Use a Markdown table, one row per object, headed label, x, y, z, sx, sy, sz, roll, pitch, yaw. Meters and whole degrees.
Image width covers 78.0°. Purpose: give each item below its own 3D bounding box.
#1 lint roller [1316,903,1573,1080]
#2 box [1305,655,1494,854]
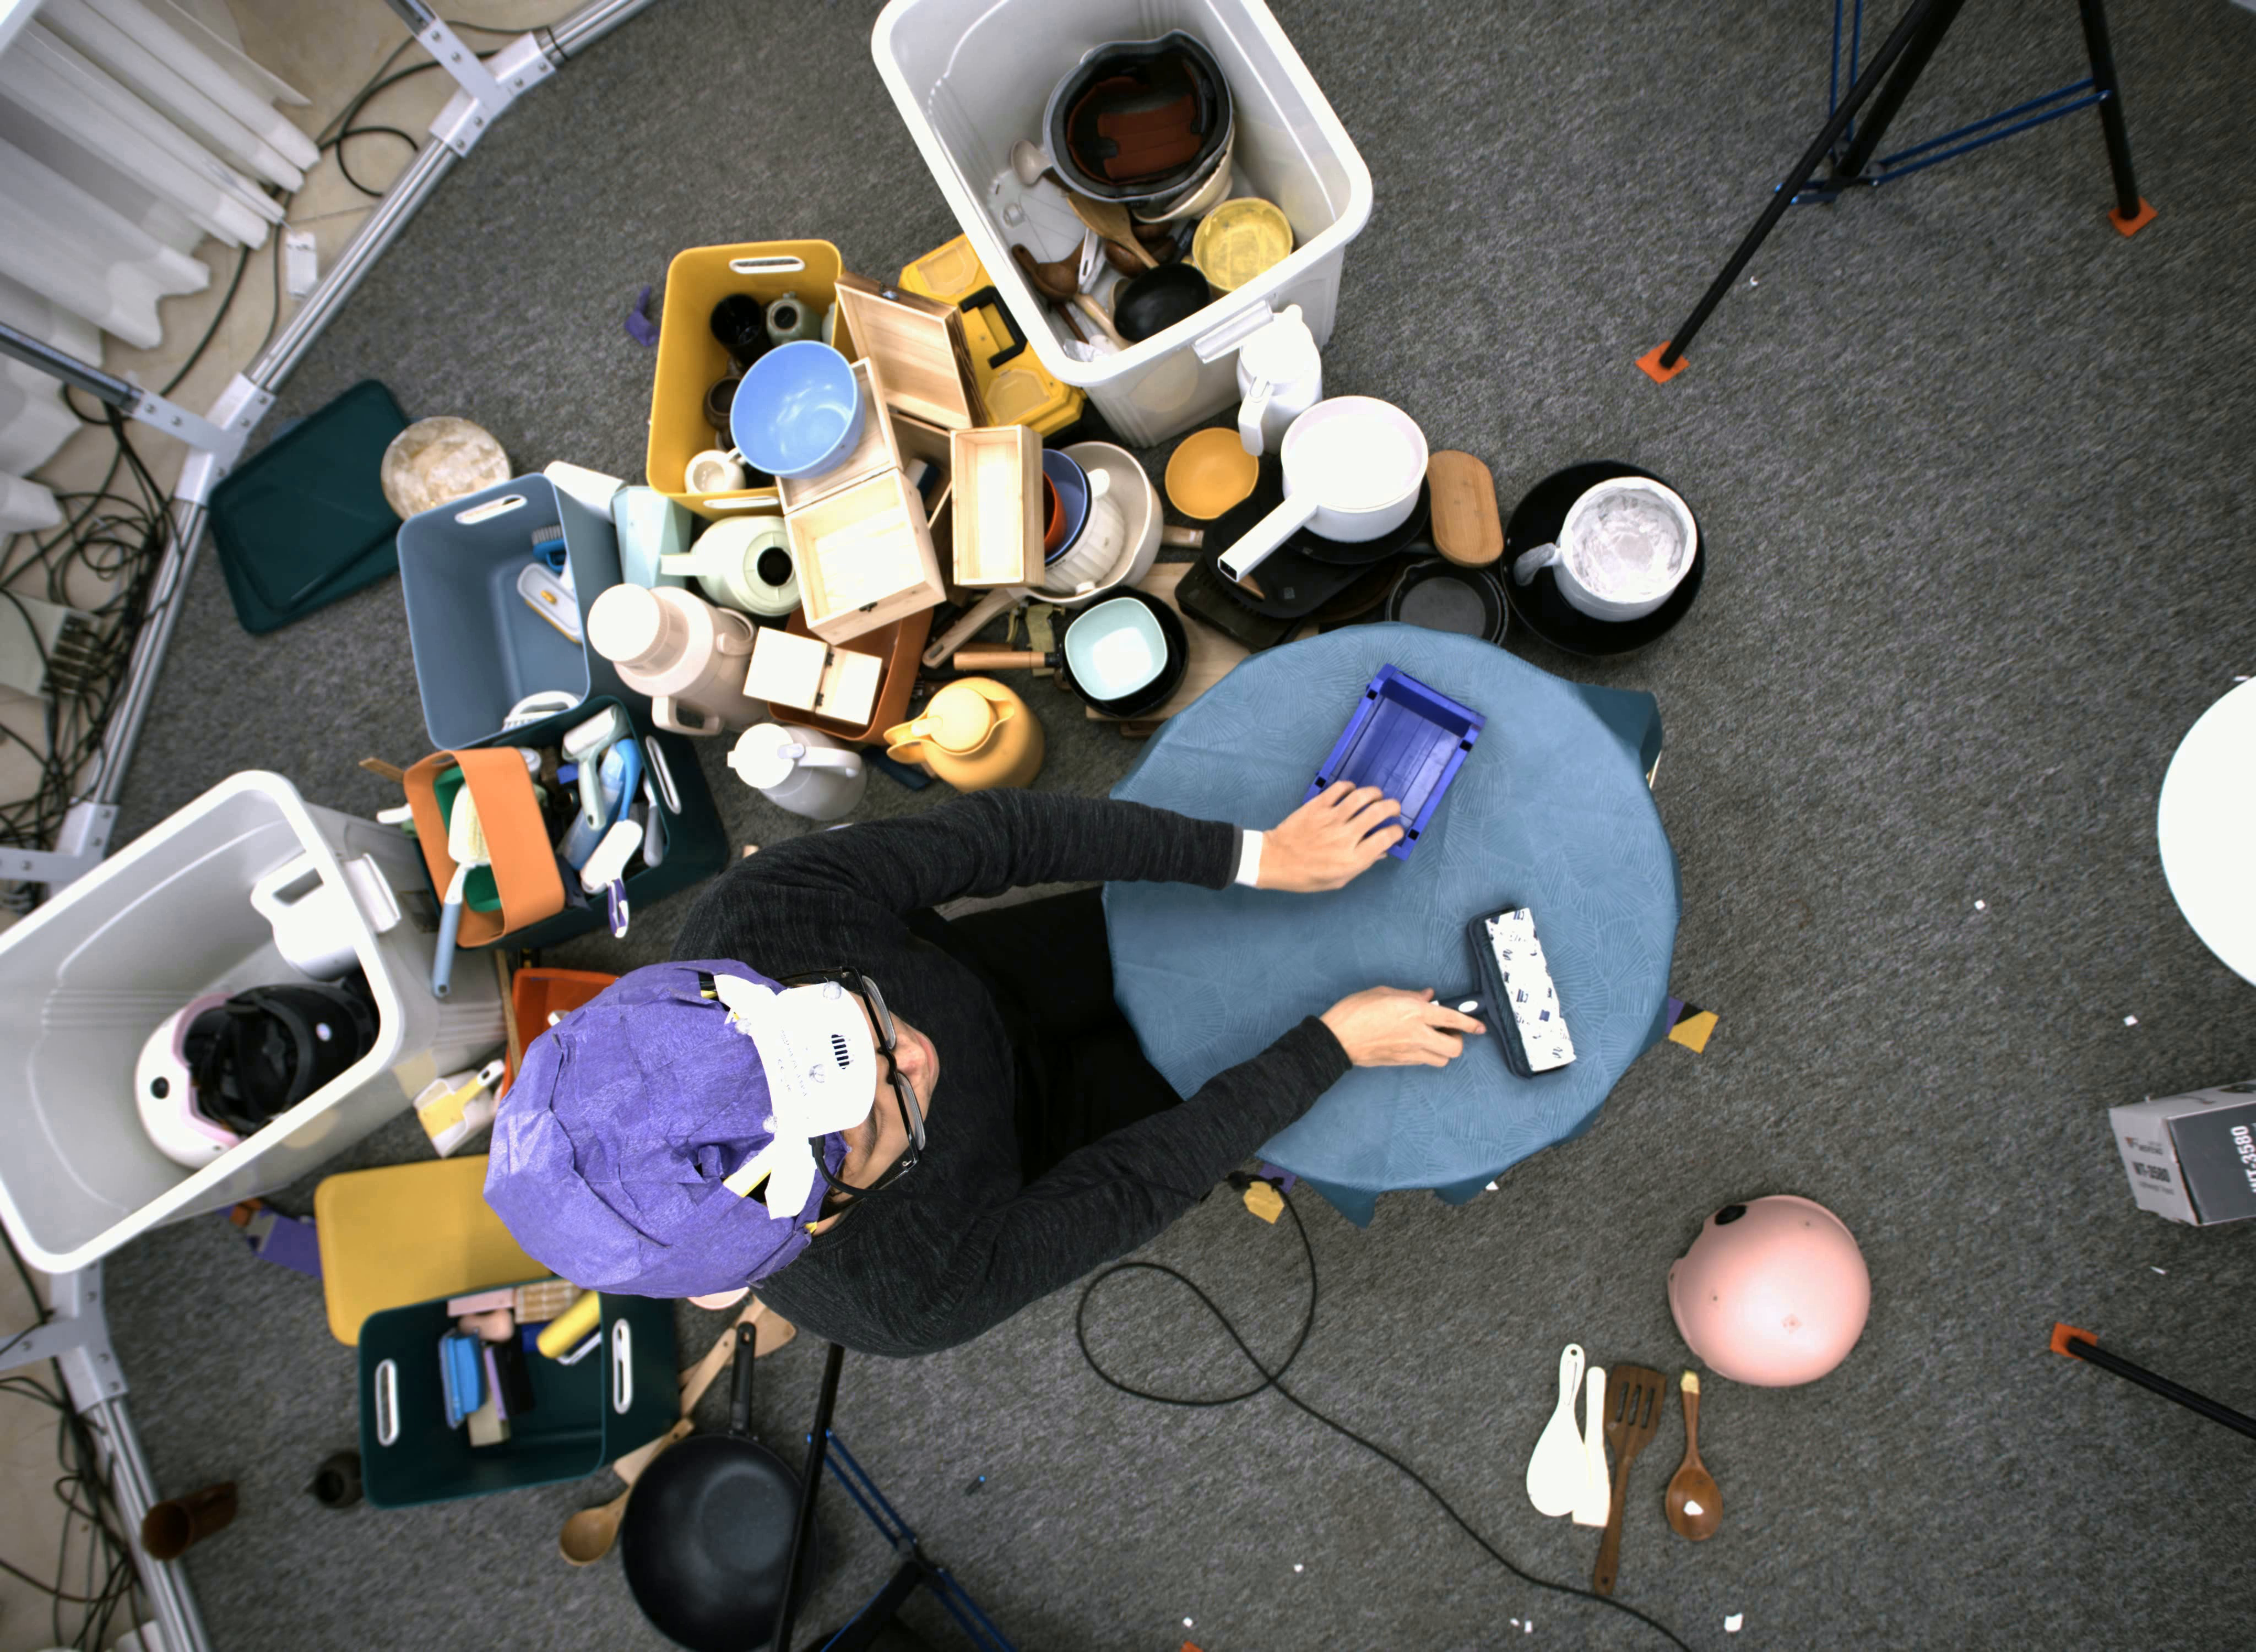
| label | x | y | z | sx | sy | sz | roll | pitch | yaw |
| --- | --- | --- | --- | --- | --- | --- | --- | --- | --- |
| lint roller | 0.314 | 0.195 | 1.421 | 0.248 | 0.050 | 0.175 | -18 | 85 | 9 |
| box | 0.281 | -0.078 | 1.425 | 0.124 | 0.082 | 0.180 | 32 | 95 | 11 |
